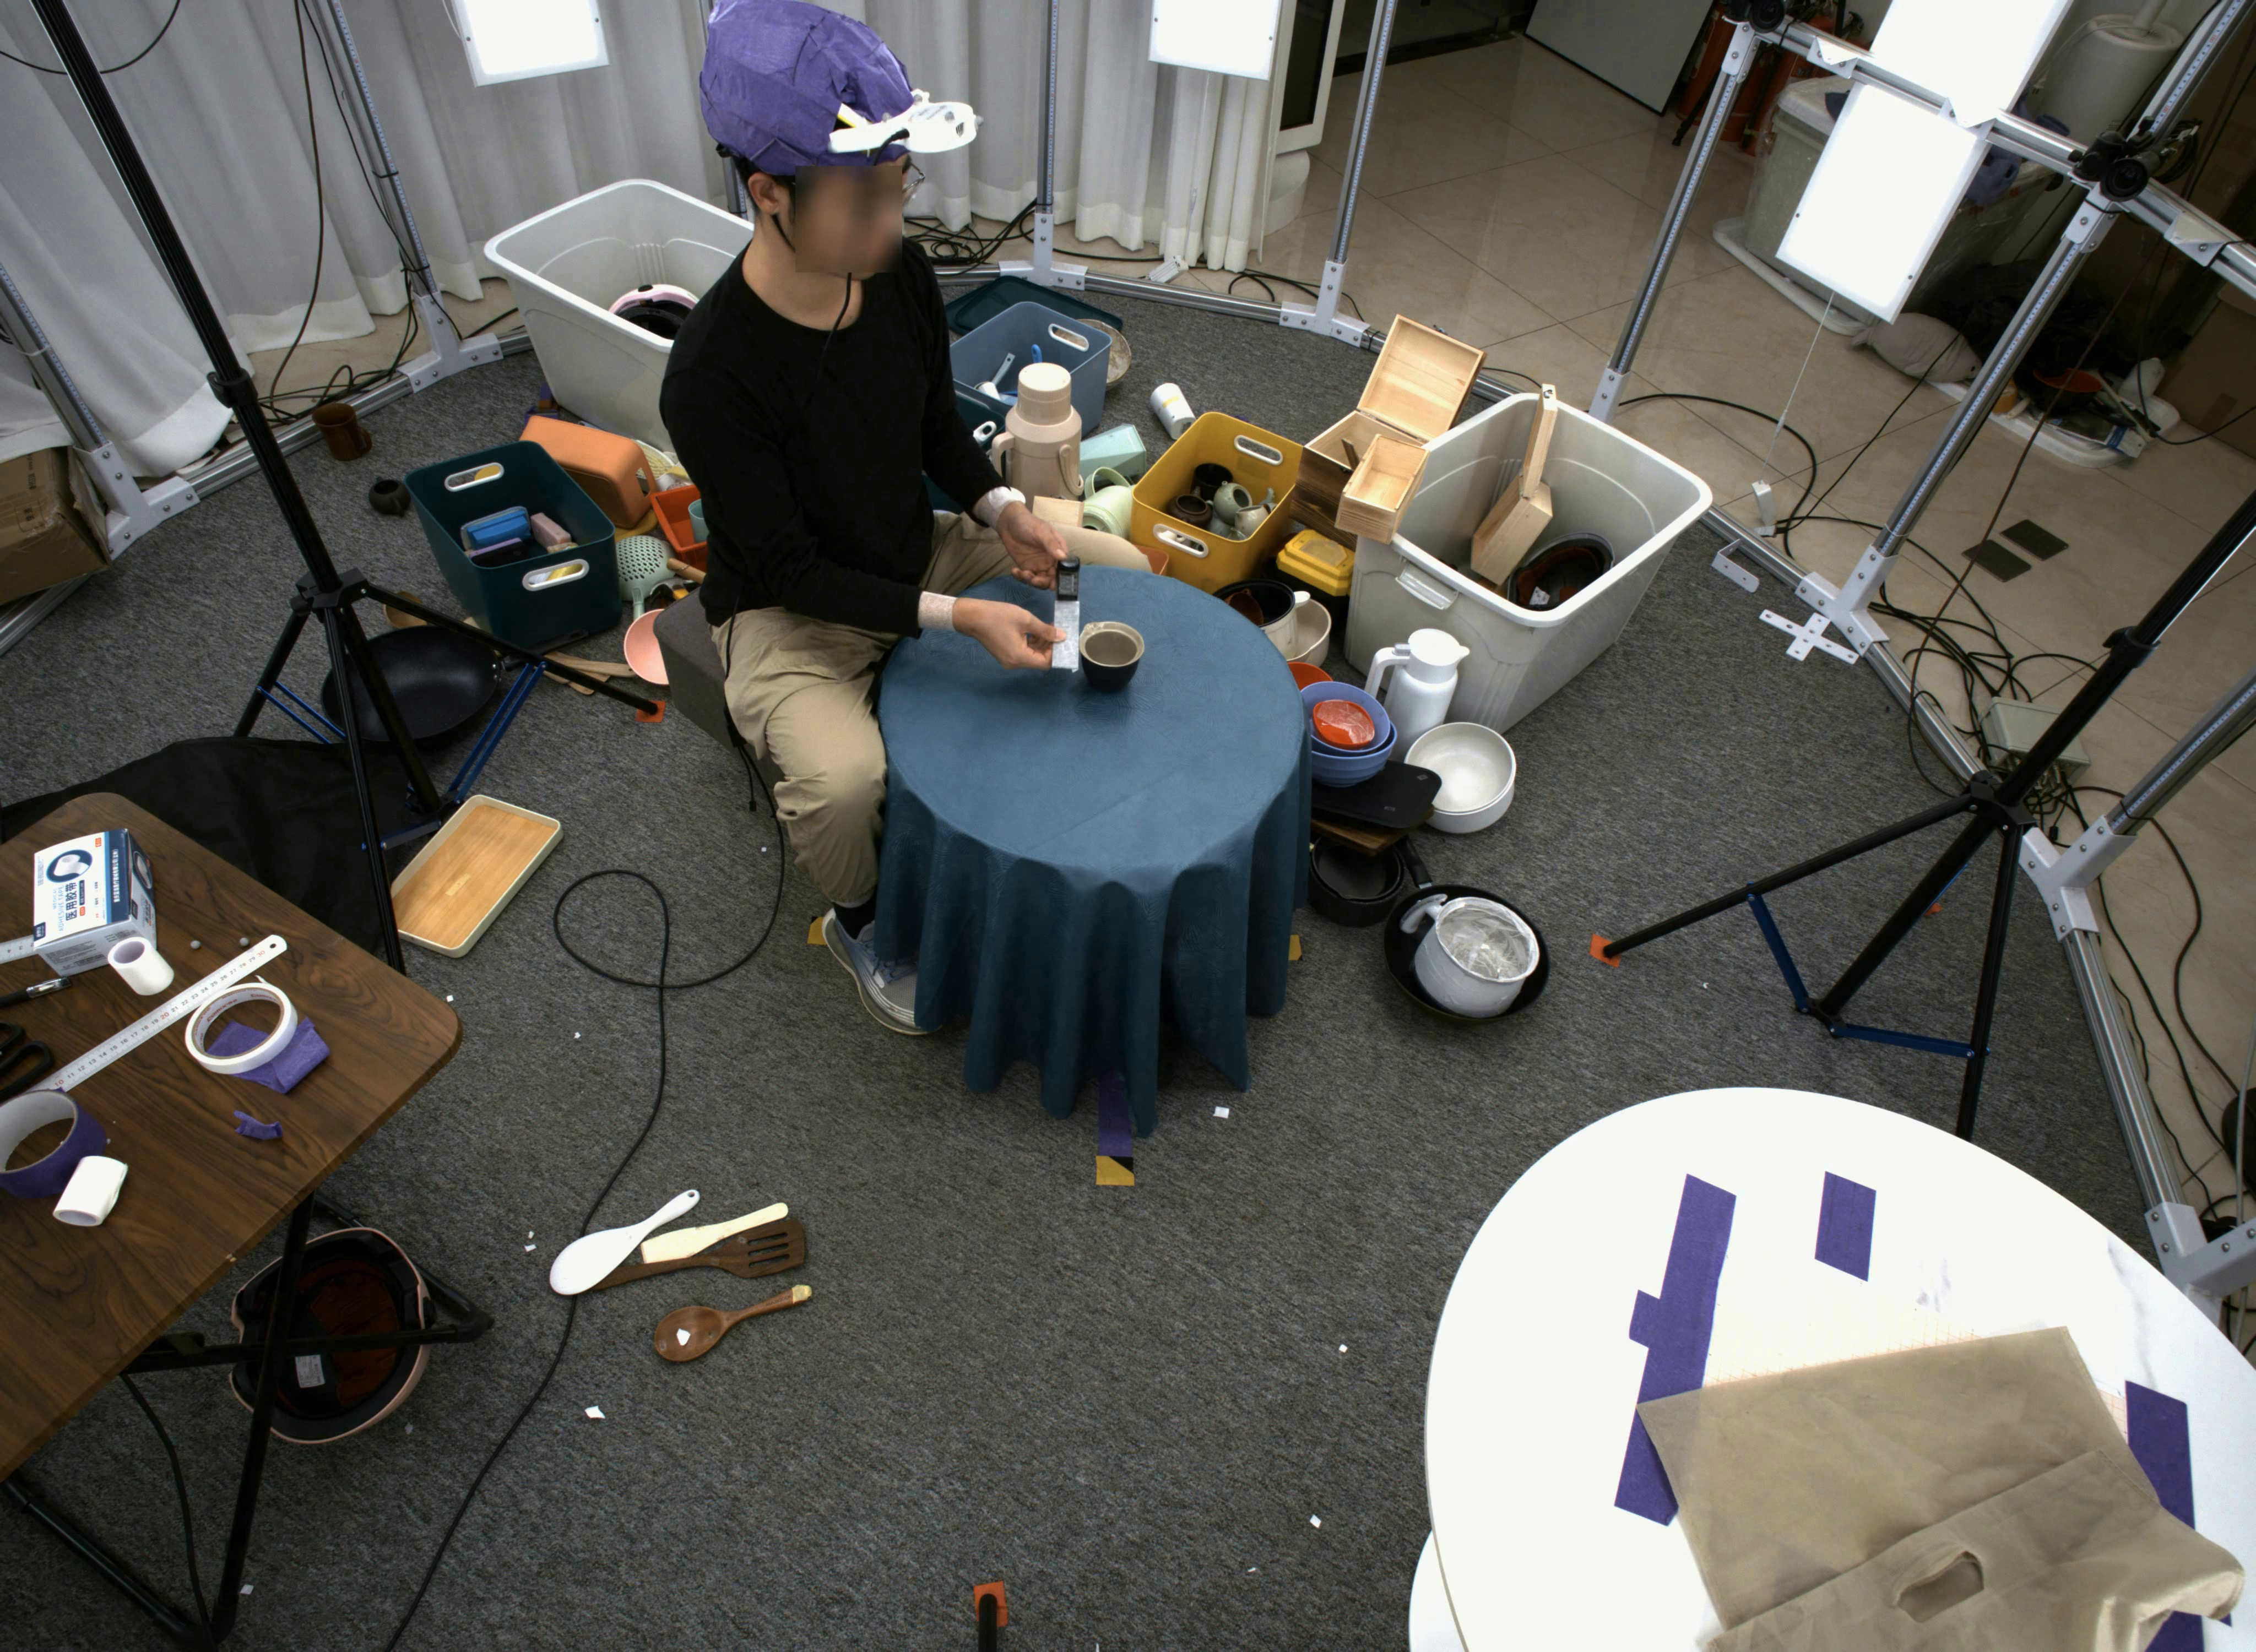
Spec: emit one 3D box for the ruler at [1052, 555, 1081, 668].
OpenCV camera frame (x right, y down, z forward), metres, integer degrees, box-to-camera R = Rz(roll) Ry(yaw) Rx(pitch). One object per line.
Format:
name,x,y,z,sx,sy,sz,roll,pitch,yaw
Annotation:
ruler,-0.086,-0.306,1.817,0.038,0.023,0.223,0,49,0

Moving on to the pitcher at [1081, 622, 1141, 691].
pitcher,-0.029,-0.238,1.827,0.084,0.069,0.097,-31,59,-26
